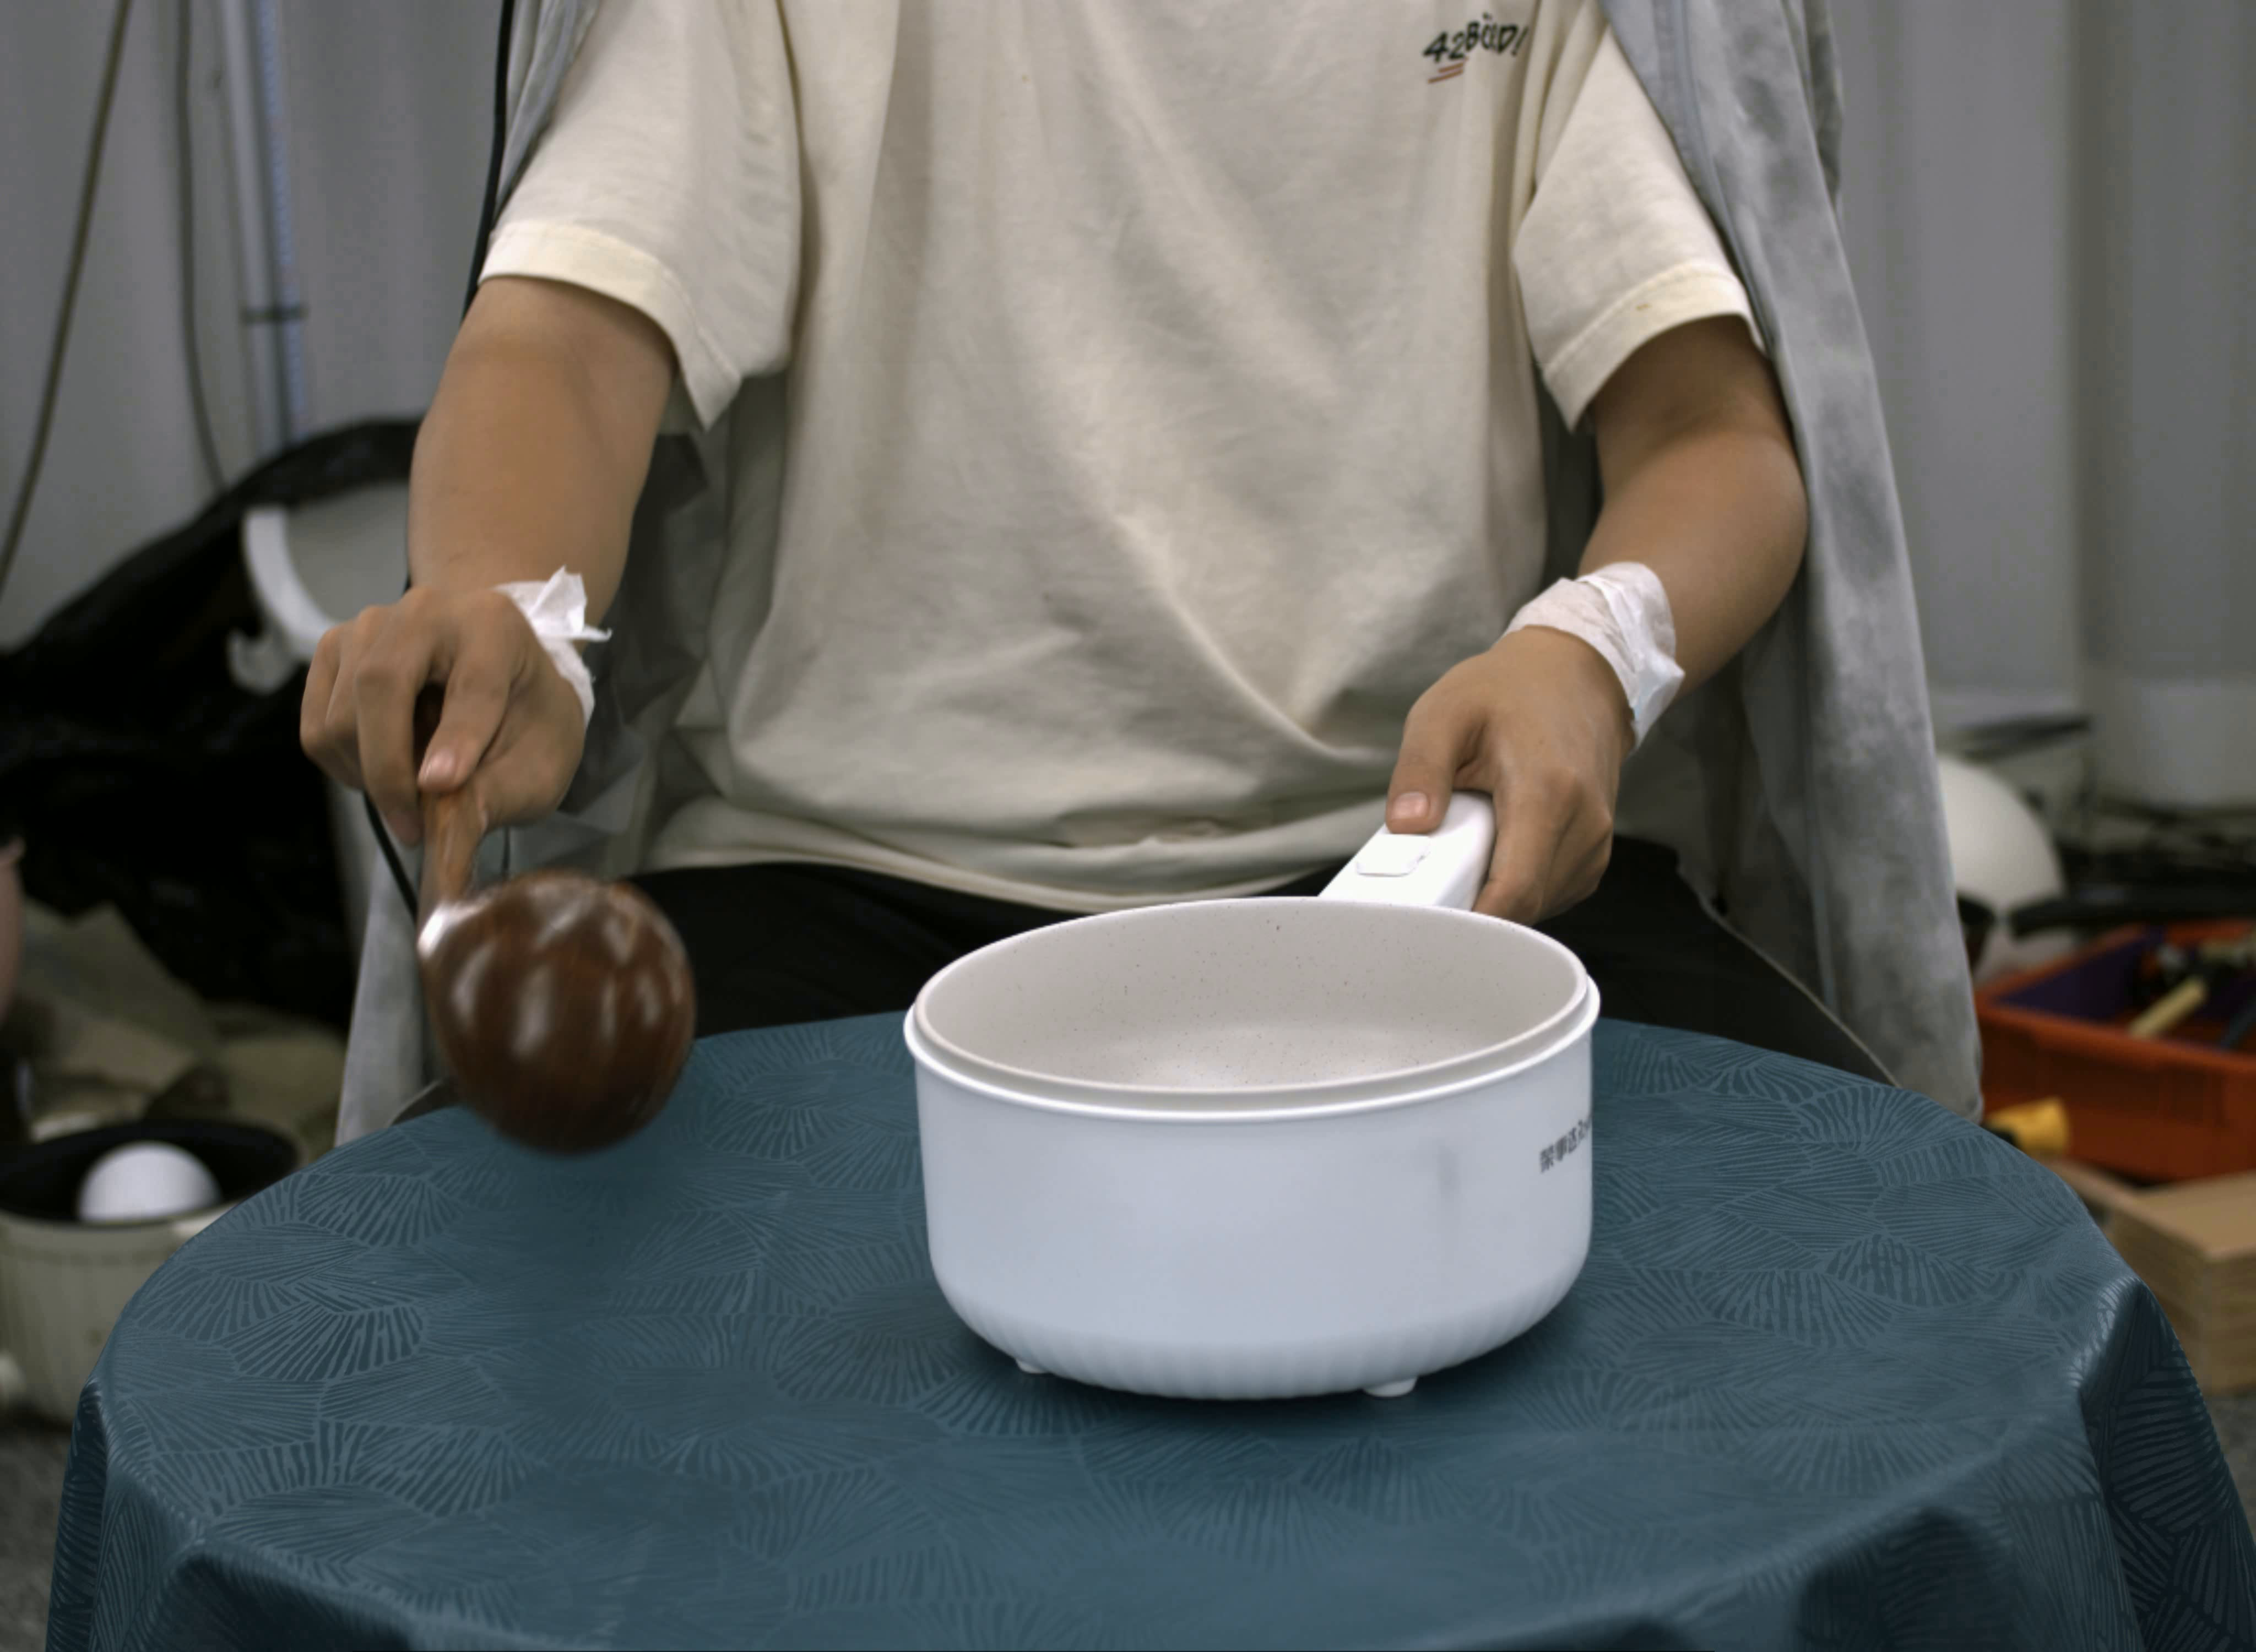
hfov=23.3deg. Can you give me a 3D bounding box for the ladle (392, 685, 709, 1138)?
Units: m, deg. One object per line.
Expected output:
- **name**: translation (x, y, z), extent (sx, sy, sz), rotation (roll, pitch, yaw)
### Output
- **ladle**: translation (-0.174, 0.014, 1.627), extent (0.076, 0.082, 0.276), rotation (27, 10, -16)

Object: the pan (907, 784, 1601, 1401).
- **pan**: translation (0.062, 0.076, 1.660), extent (0.201, 0.102, 0.356), rotation (2, 15, 18)
